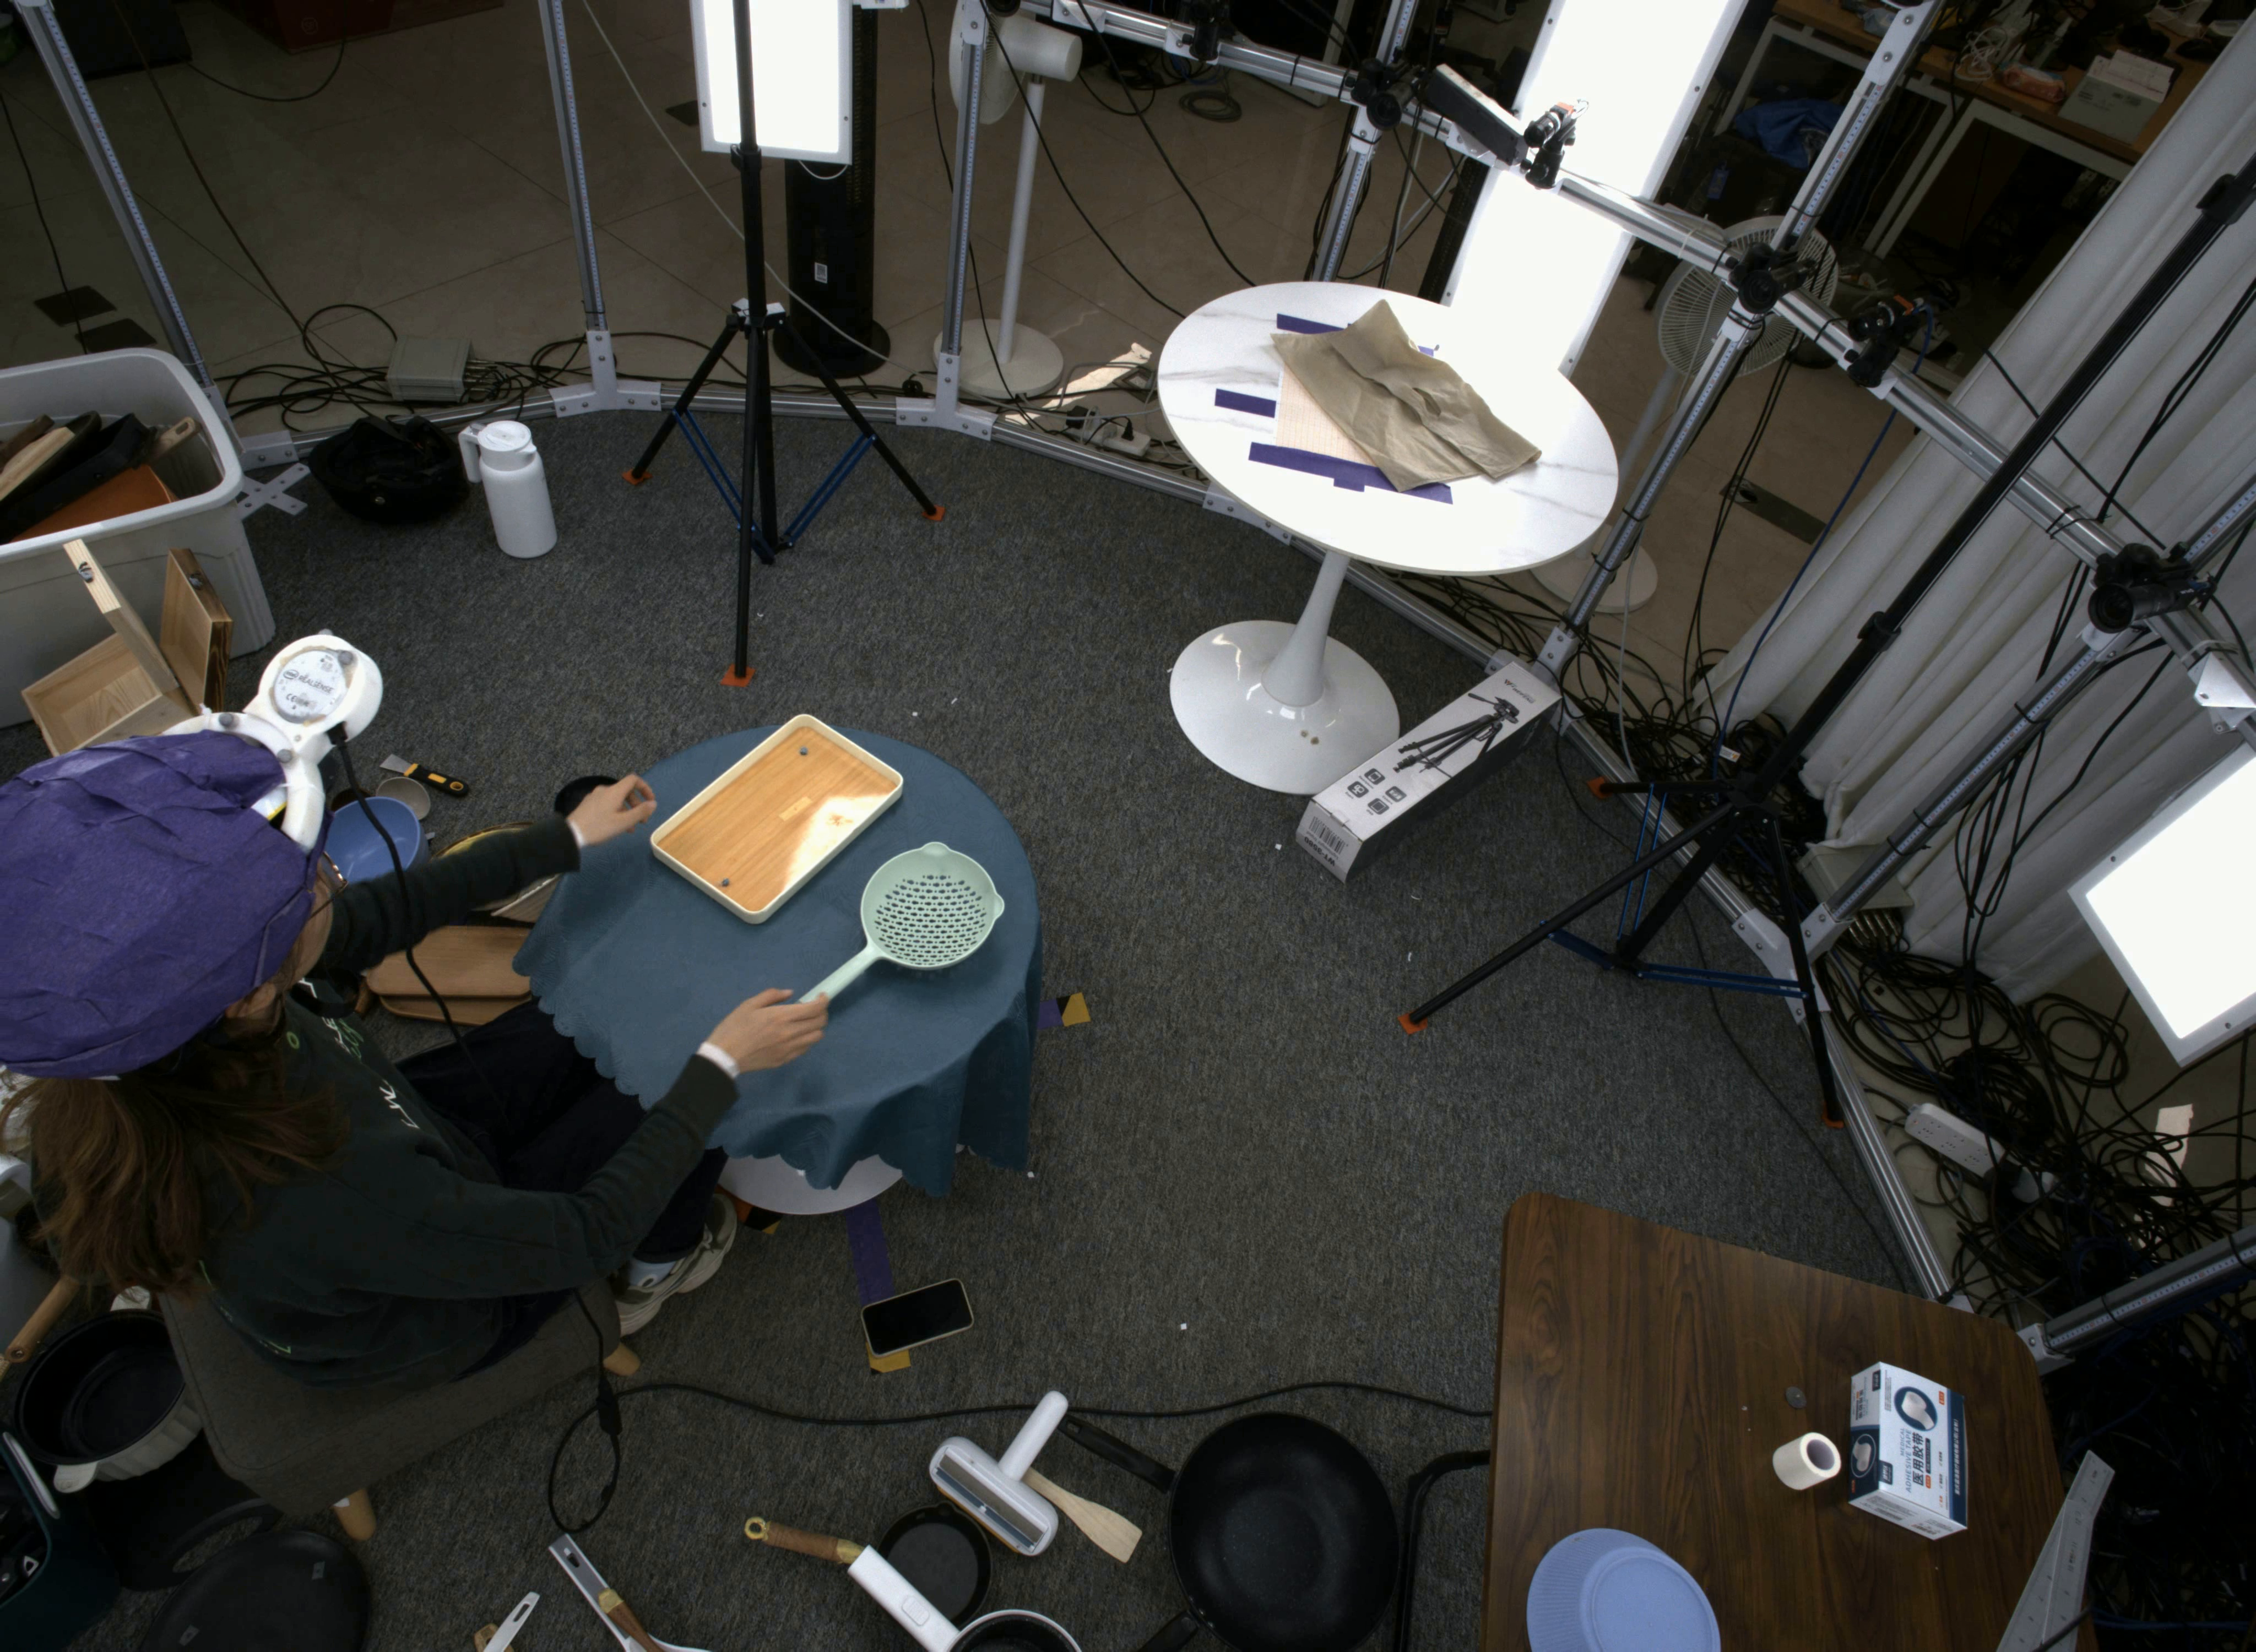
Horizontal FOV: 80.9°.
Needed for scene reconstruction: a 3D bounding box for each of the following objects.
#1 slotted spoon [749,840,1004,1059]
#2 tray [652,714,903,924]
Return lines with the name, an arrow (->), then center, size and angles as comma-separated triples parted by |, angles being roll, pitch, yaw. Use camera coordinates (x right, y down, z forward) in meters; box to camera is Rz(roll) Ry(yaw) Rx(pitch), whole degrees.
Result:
slotted spoon -> -0.317, 0.159, 1.596 | 0.165, 0.077, 0.359 | 42, 55, 18
tray -> -0.460, -0.017, 1.716 | 0.188, 0.028, 0.300 | 33, 53, 11
